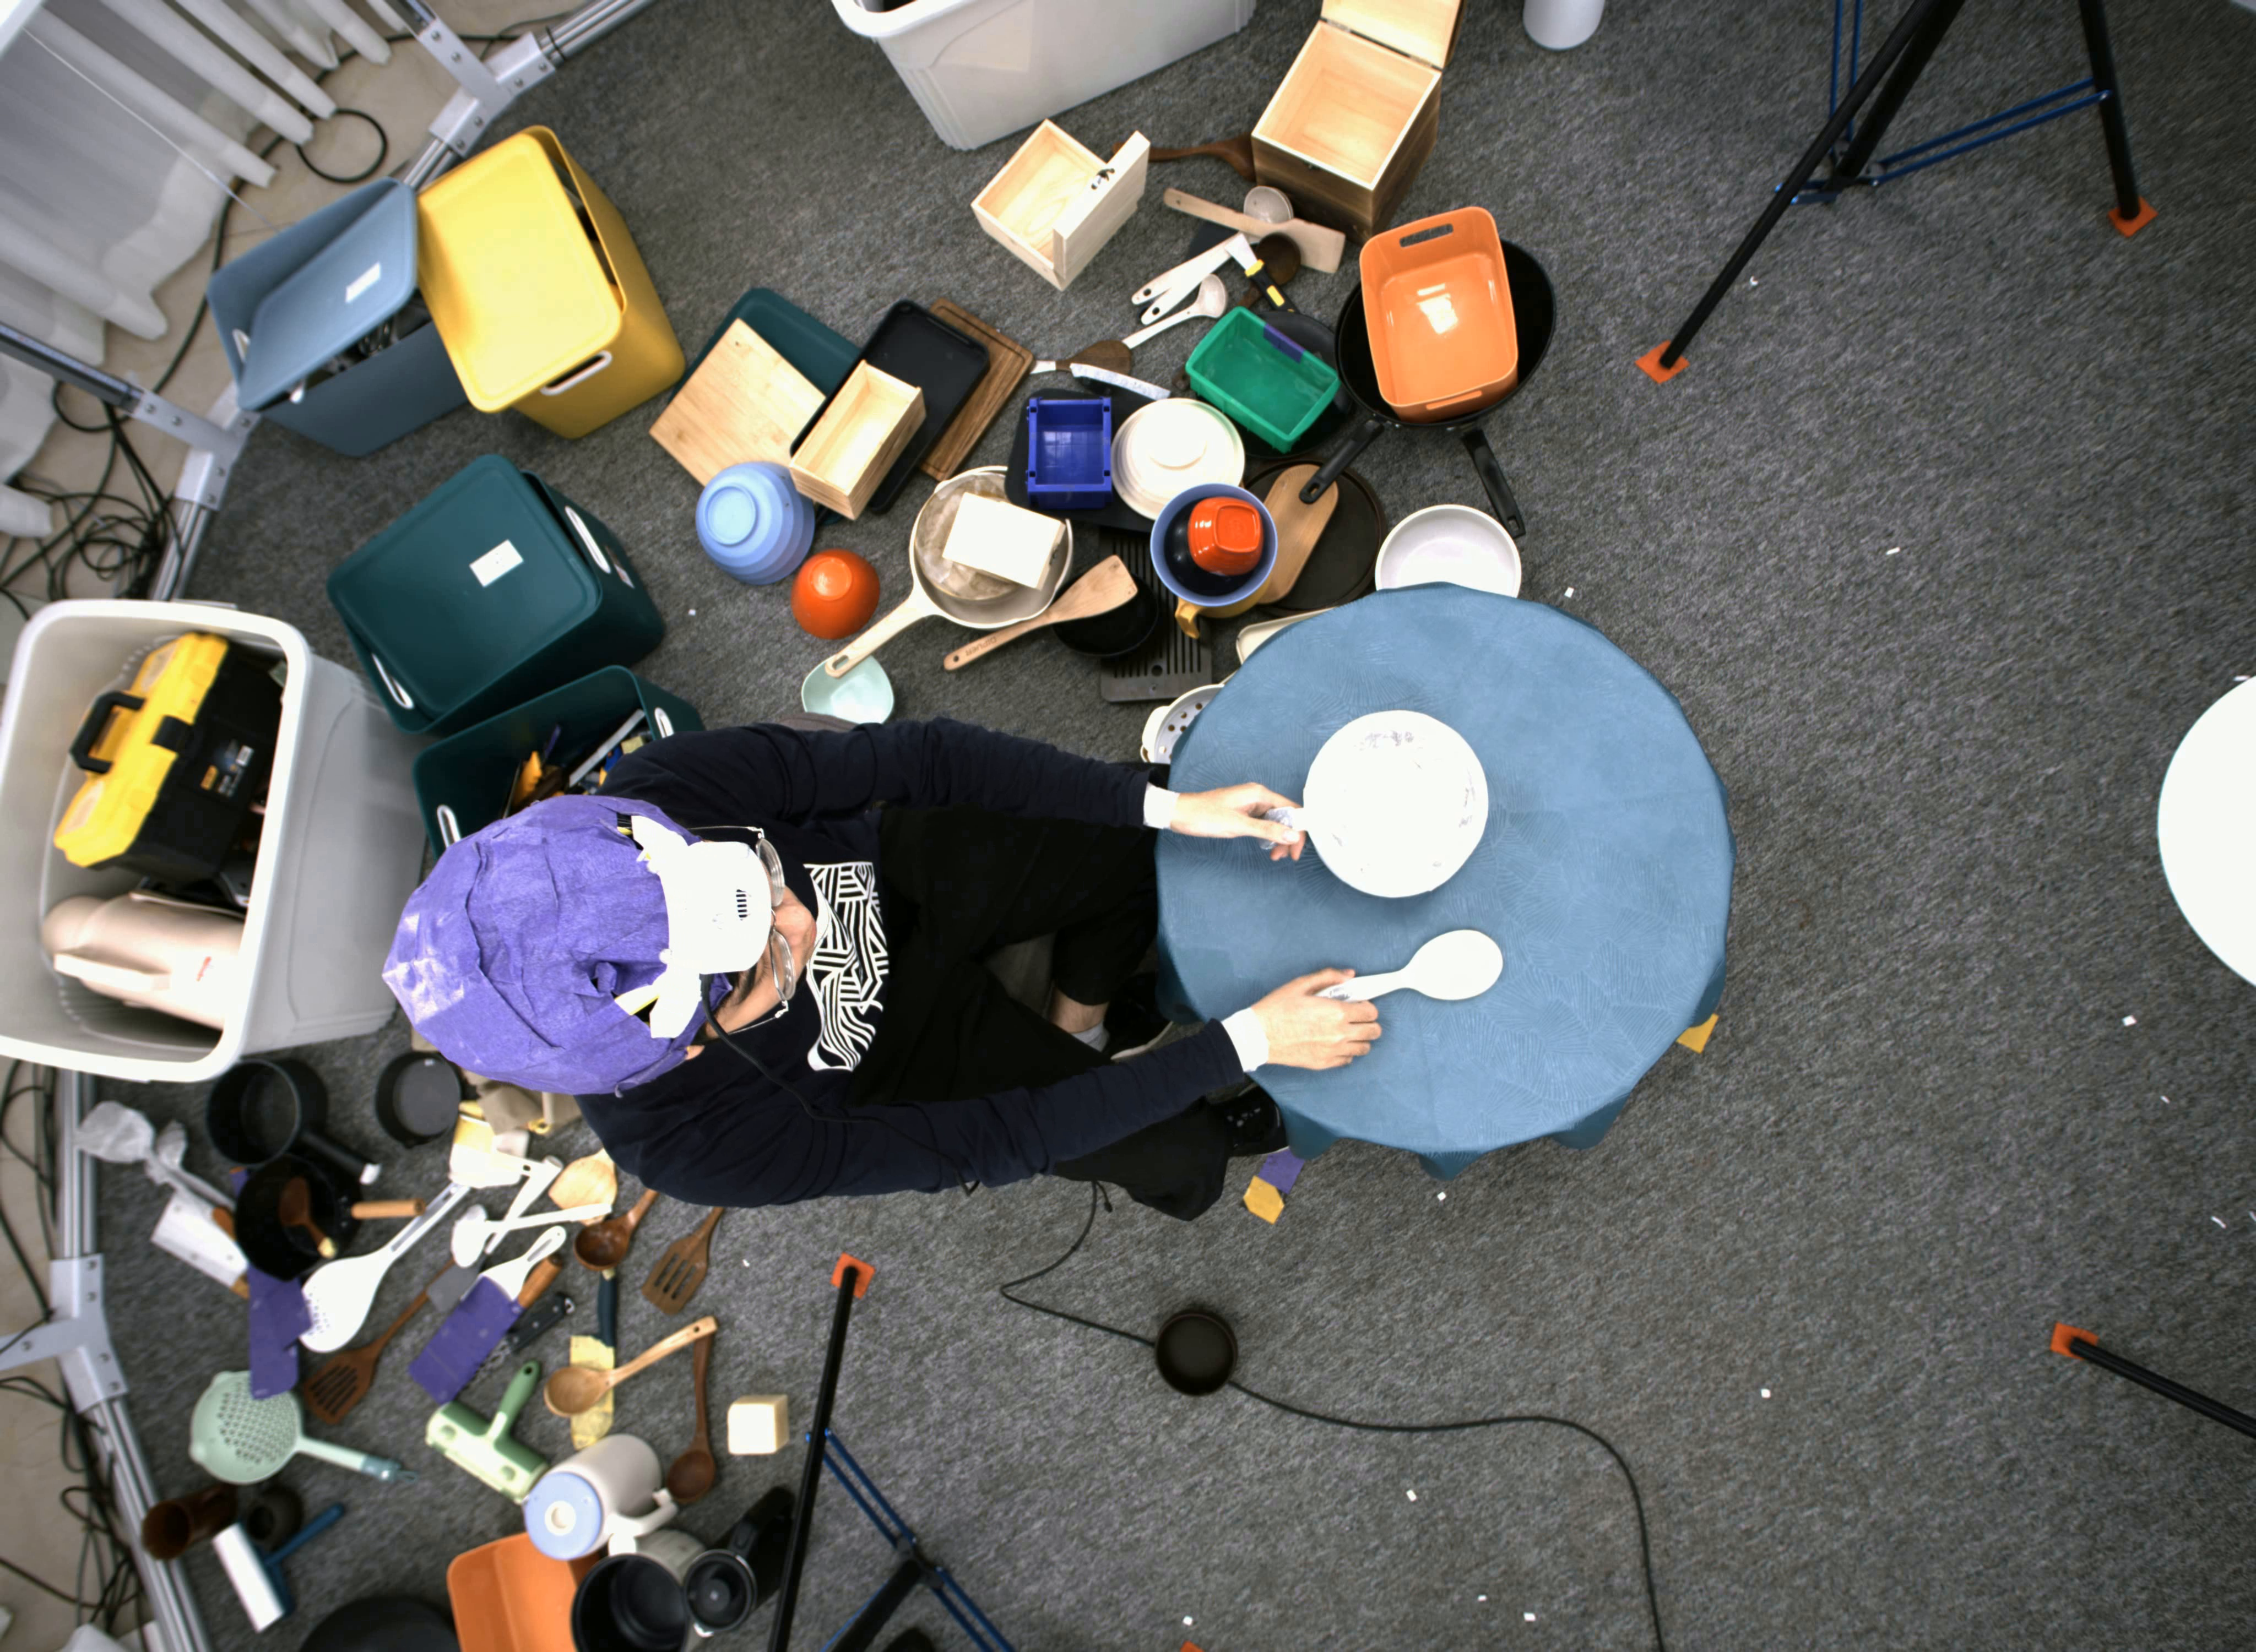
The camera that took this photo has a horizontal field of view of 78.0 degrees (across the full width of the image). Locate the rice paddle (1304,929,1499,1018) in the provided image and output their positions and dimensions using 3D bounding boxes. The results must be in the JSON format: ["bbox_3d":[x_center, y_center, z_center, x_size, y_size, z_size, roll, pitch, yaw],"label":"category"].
[{"bbox_3d":[0.285,0.156,1.438,0.206,0.029,0.068,-17,84,10],"label":"rice paddle"}]

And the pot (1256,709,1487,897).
[{"bbox_3d":[0.243,-0.015,1.404,0.235,0.137,0.177,-10,82,11],"label":"pot"}]
